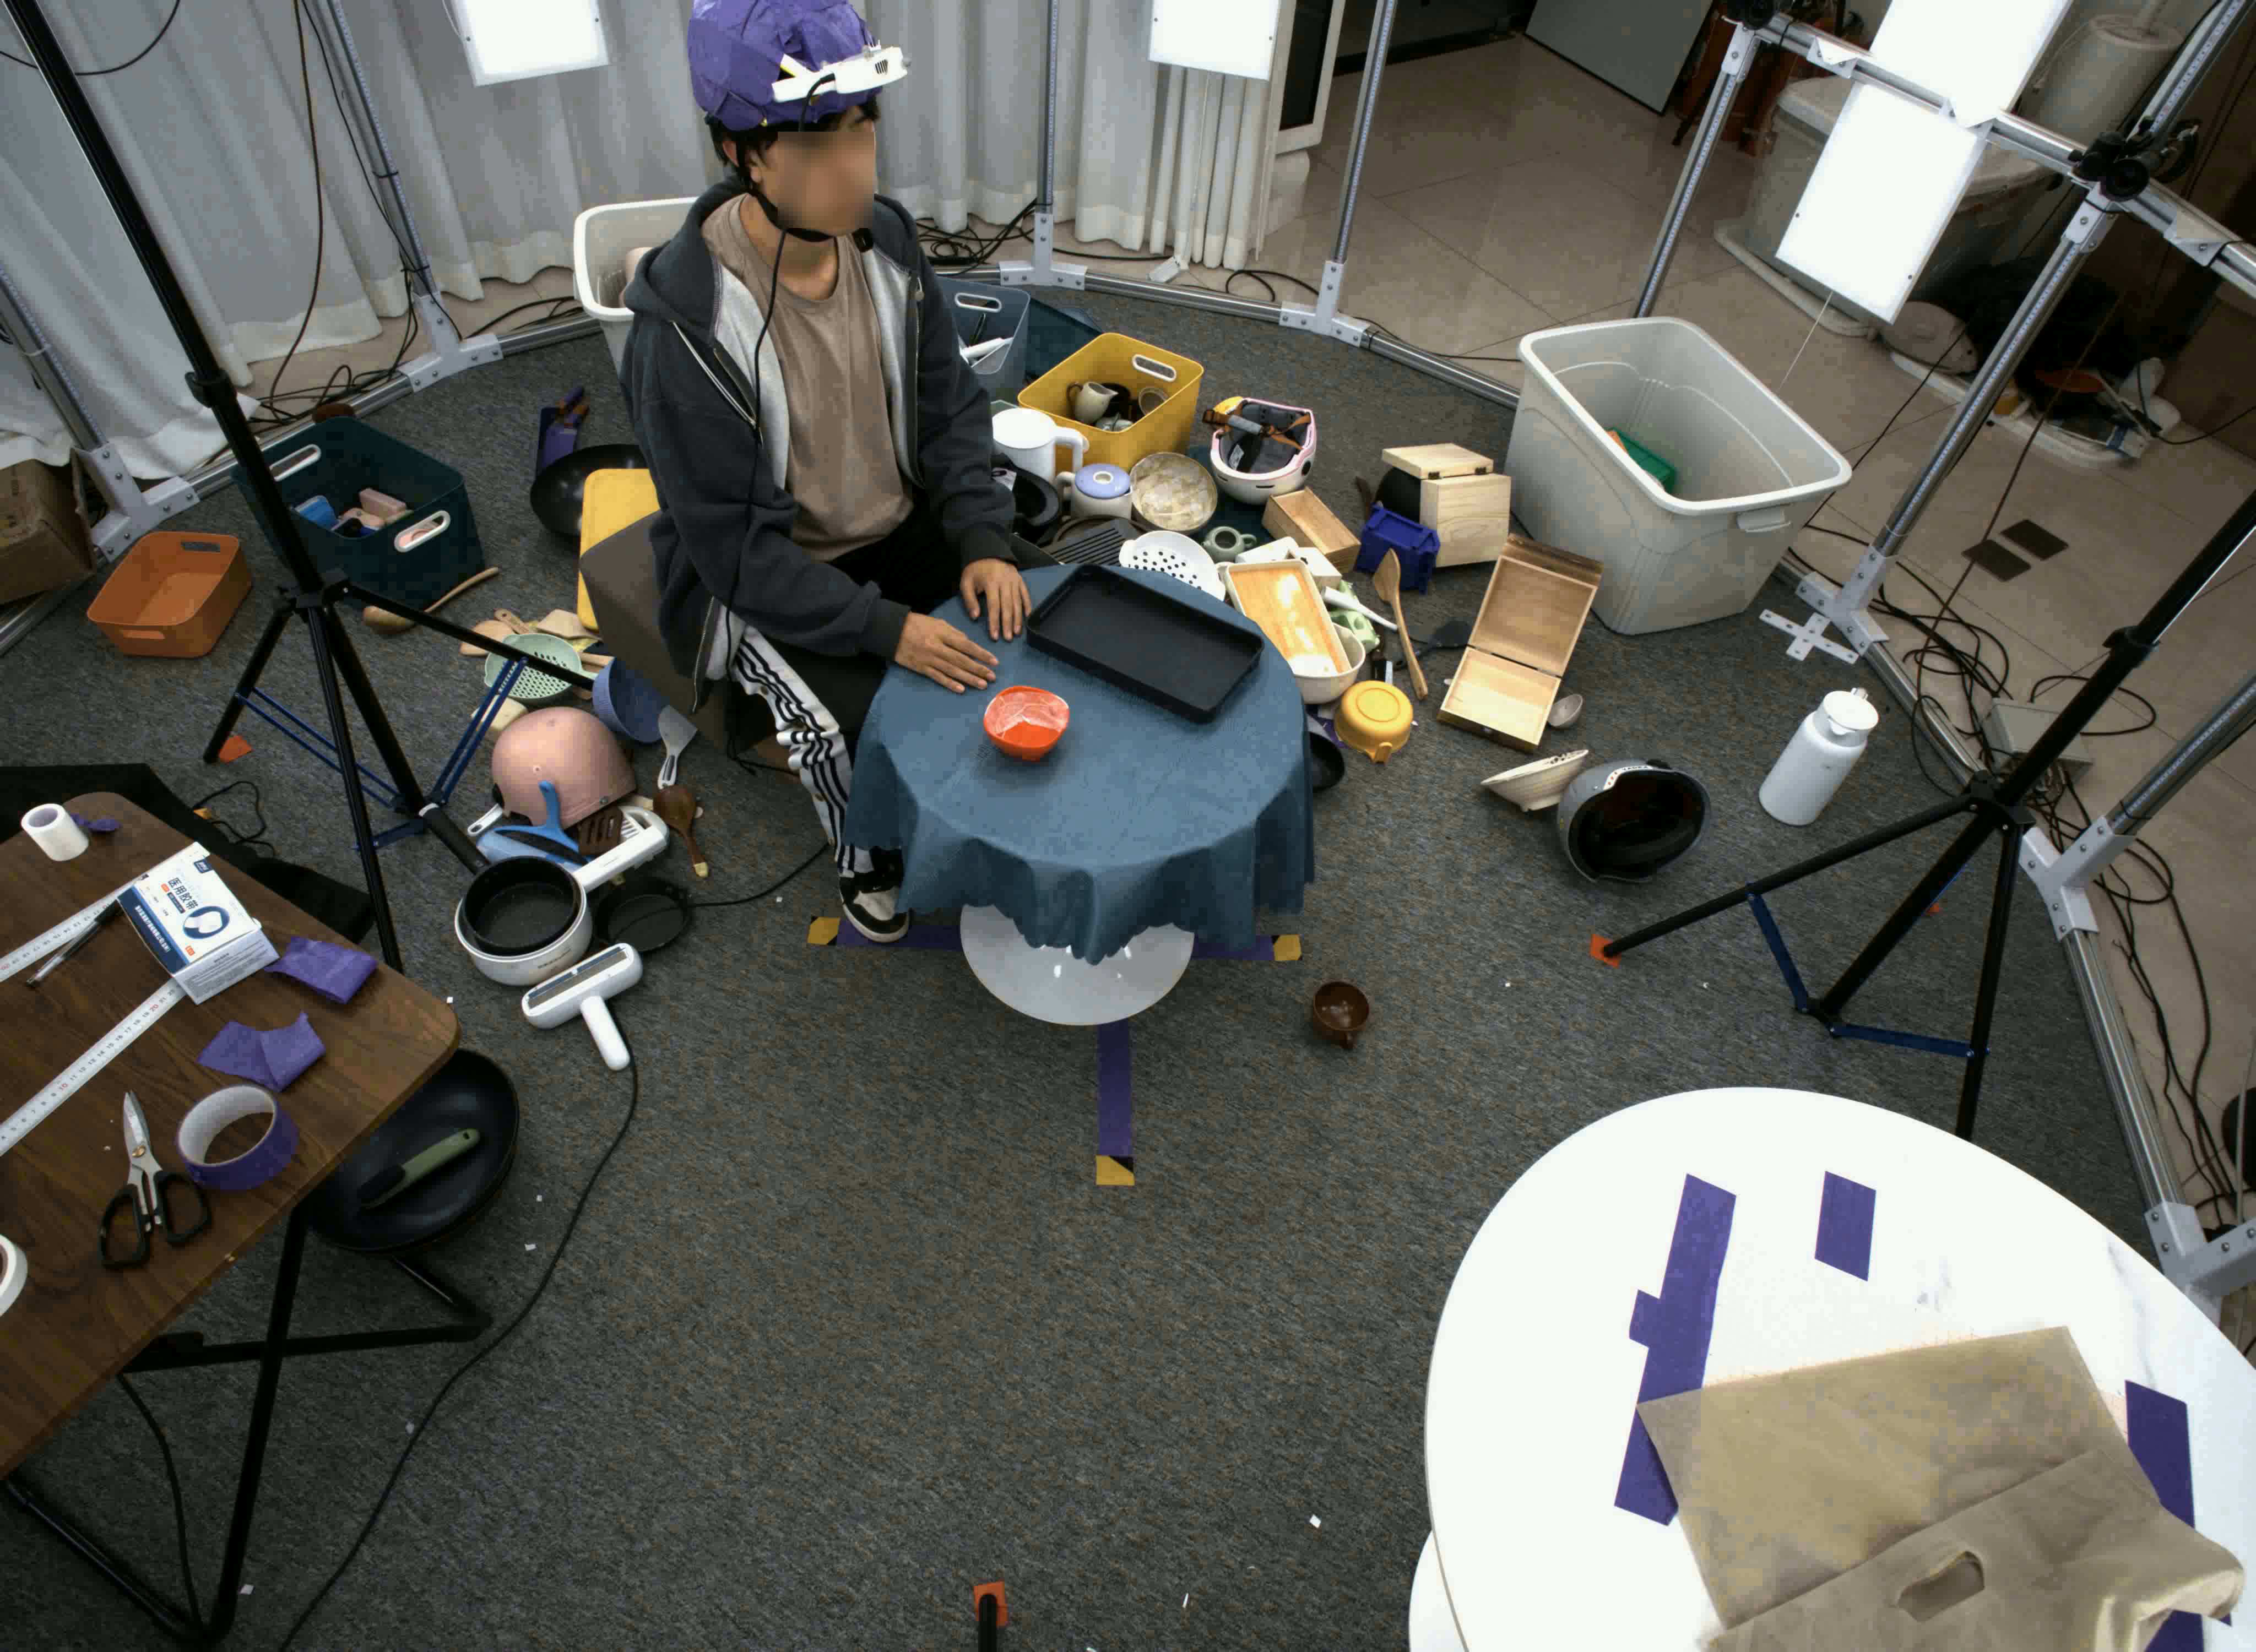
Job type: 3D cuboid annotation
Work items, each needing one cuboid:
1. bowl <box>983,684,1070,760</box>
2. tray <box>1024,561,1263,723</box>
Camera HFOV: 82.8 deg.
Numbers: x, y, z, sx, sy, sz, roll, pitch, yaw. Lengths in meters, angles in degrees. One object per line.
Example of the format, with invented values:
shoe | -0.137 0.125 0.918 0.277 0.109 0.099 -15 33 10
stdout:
bowl | -0.138 -0.134 1.738 0.119 0.050 0.122 3 50 -3
tray | 0.022 -0.273 1.880 0.321 0.036 0.187 27 52 18
